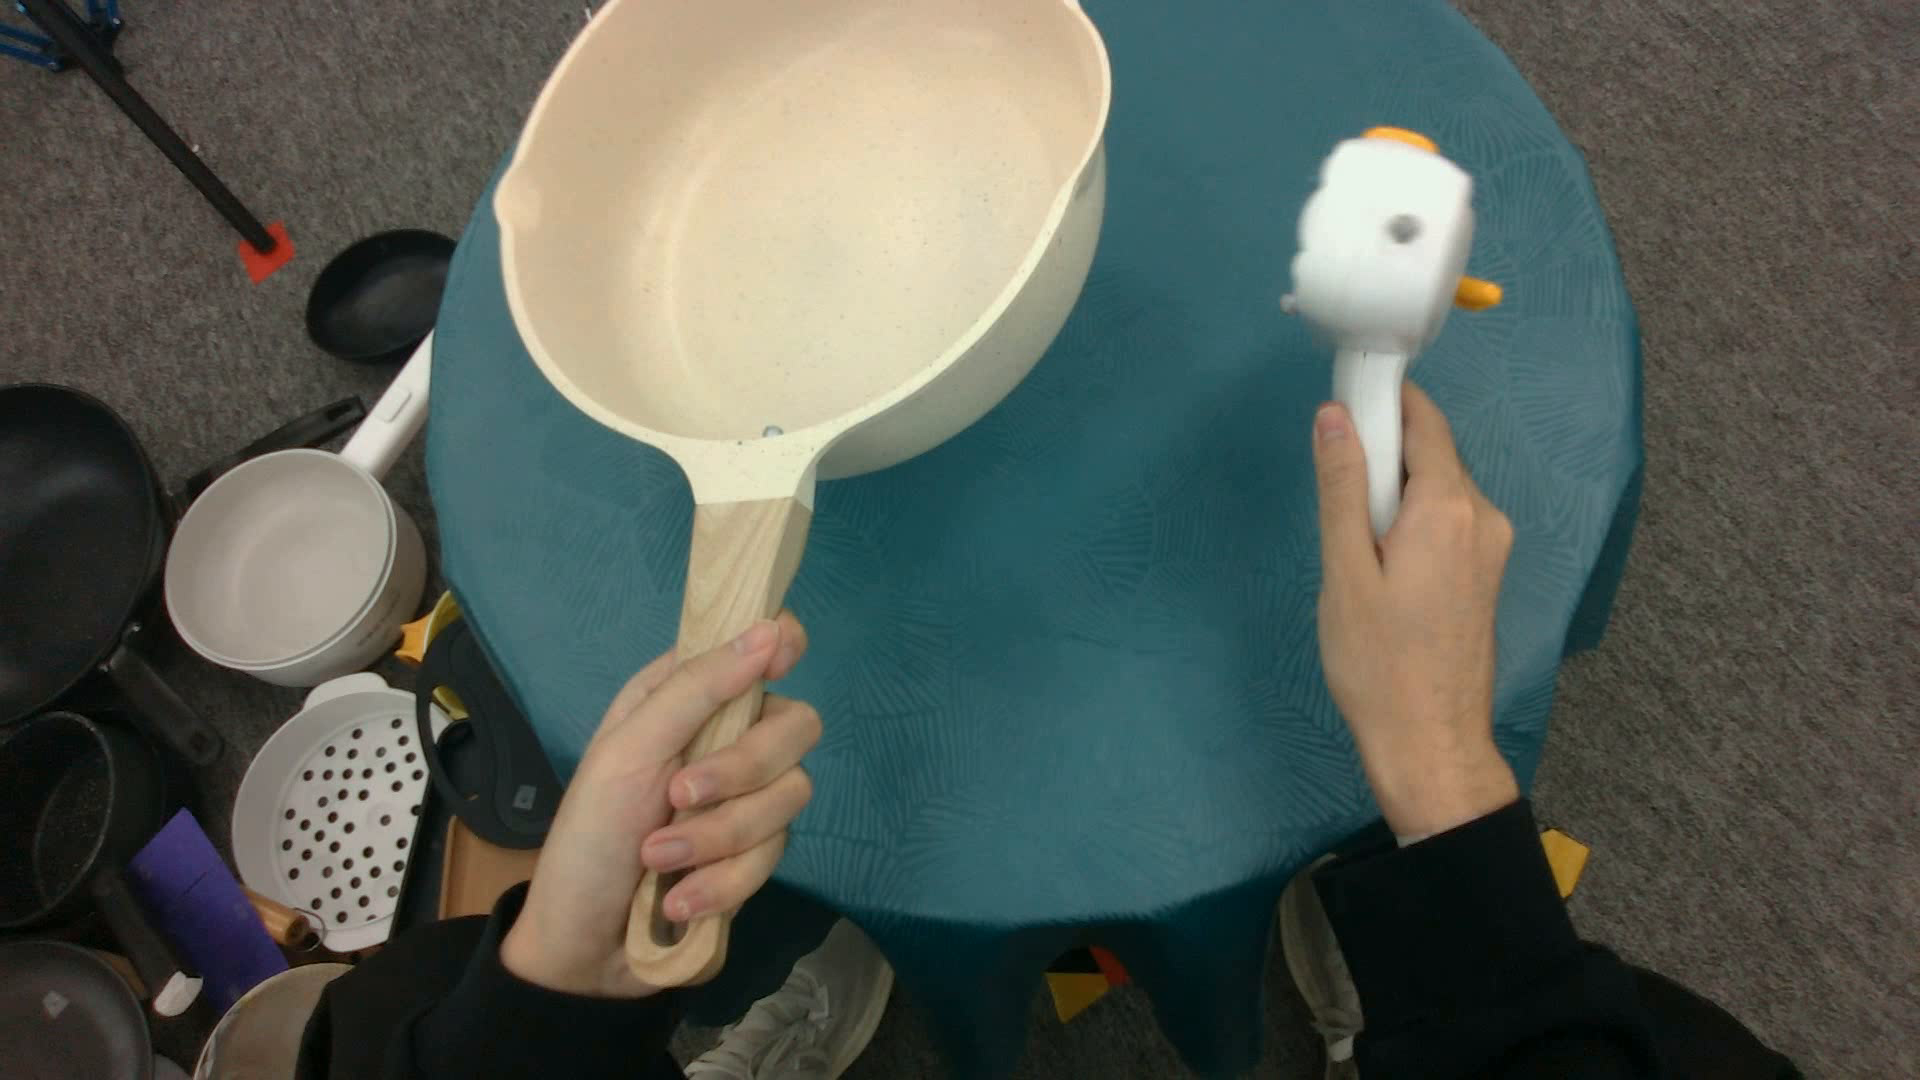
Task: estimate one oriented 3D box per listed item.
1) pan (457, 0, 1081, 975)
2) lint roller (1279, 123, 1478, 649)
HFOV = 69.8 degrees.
[{"bbox_3d":[-0.075,-0.059,0.536,0.263,0.102,0.436,-4,72,15],"label":"pan"},{"bbox_3d":[0.155,-0.054,0.545,0.074,0.193,0.192,10,98,10],"label":"lint roller"}]
